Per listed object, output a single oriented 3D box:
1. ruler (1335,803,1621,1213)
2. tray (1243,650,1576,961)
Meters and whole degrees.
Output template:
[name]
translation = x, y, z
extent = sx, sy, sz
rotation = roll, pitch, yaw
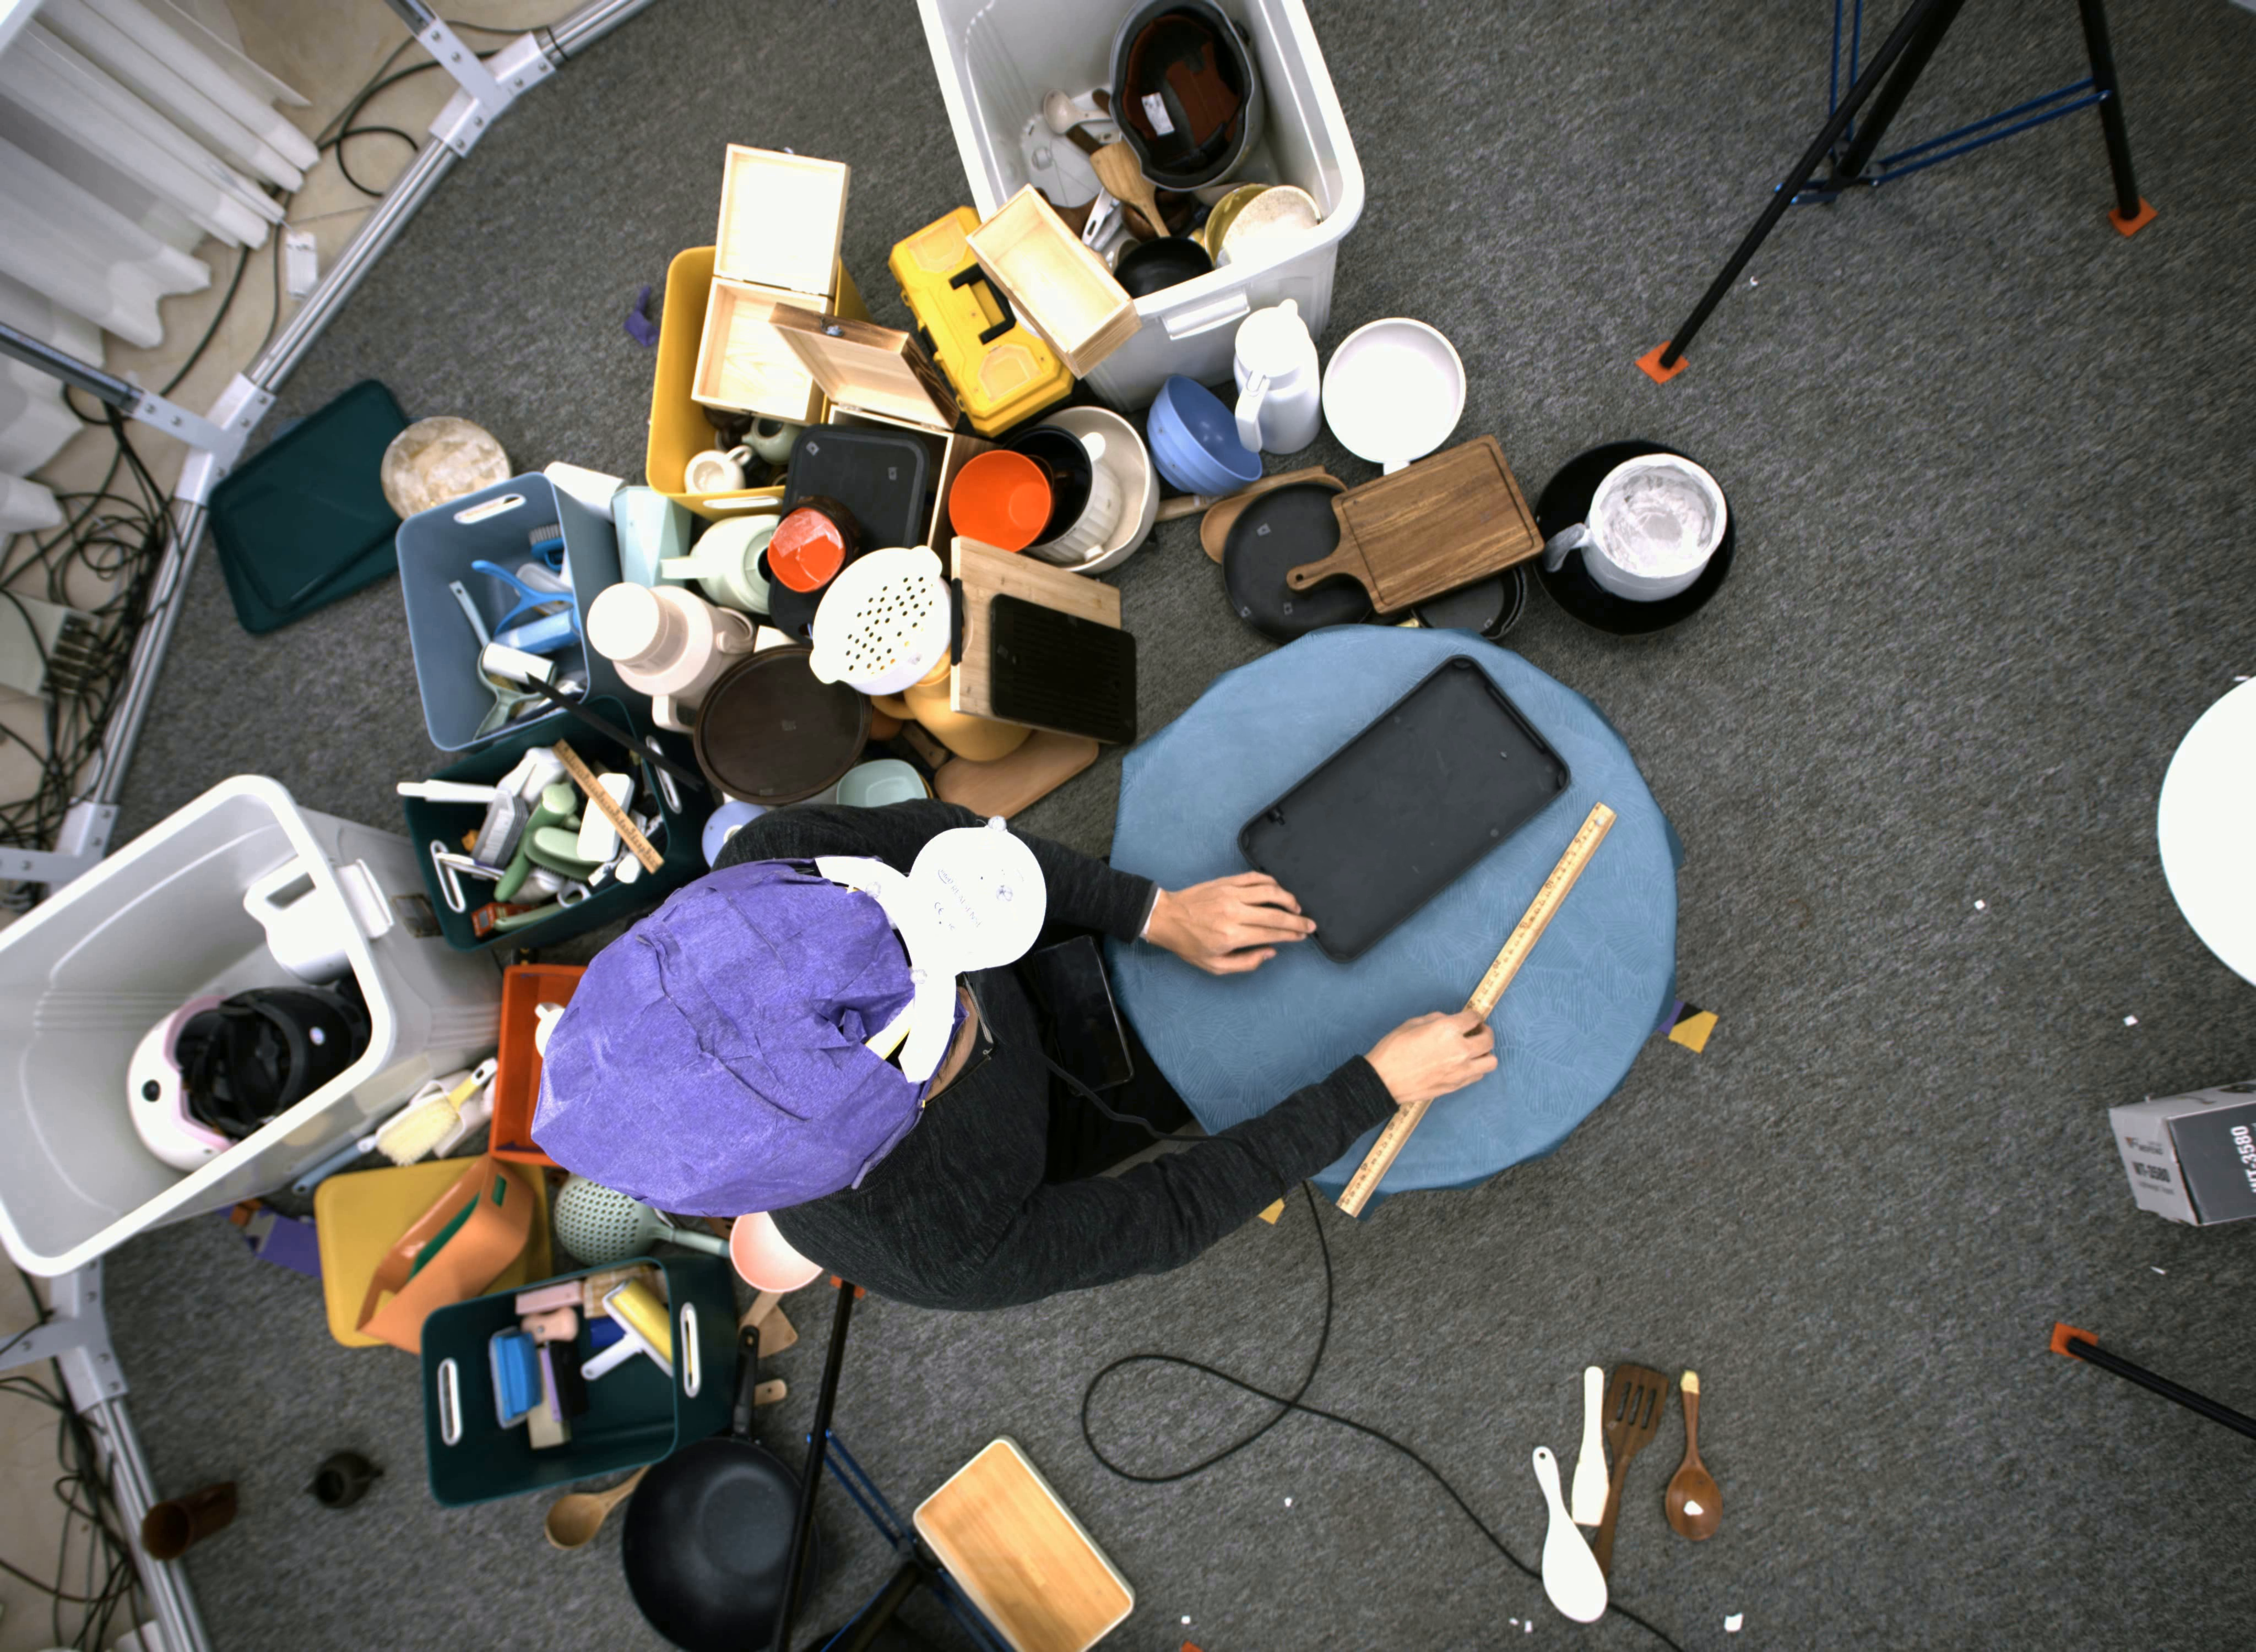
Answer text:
[ruler]
translation = 0.363, 0.186, 1.431
extent = 0.027, 0.006, 0.501
rotation = 34, 93, 4
[tray]
translation = 0.292, -0.022, 1.443
extent = 0.319, 0.037, 0.183
rotation = -41, 80, 7
